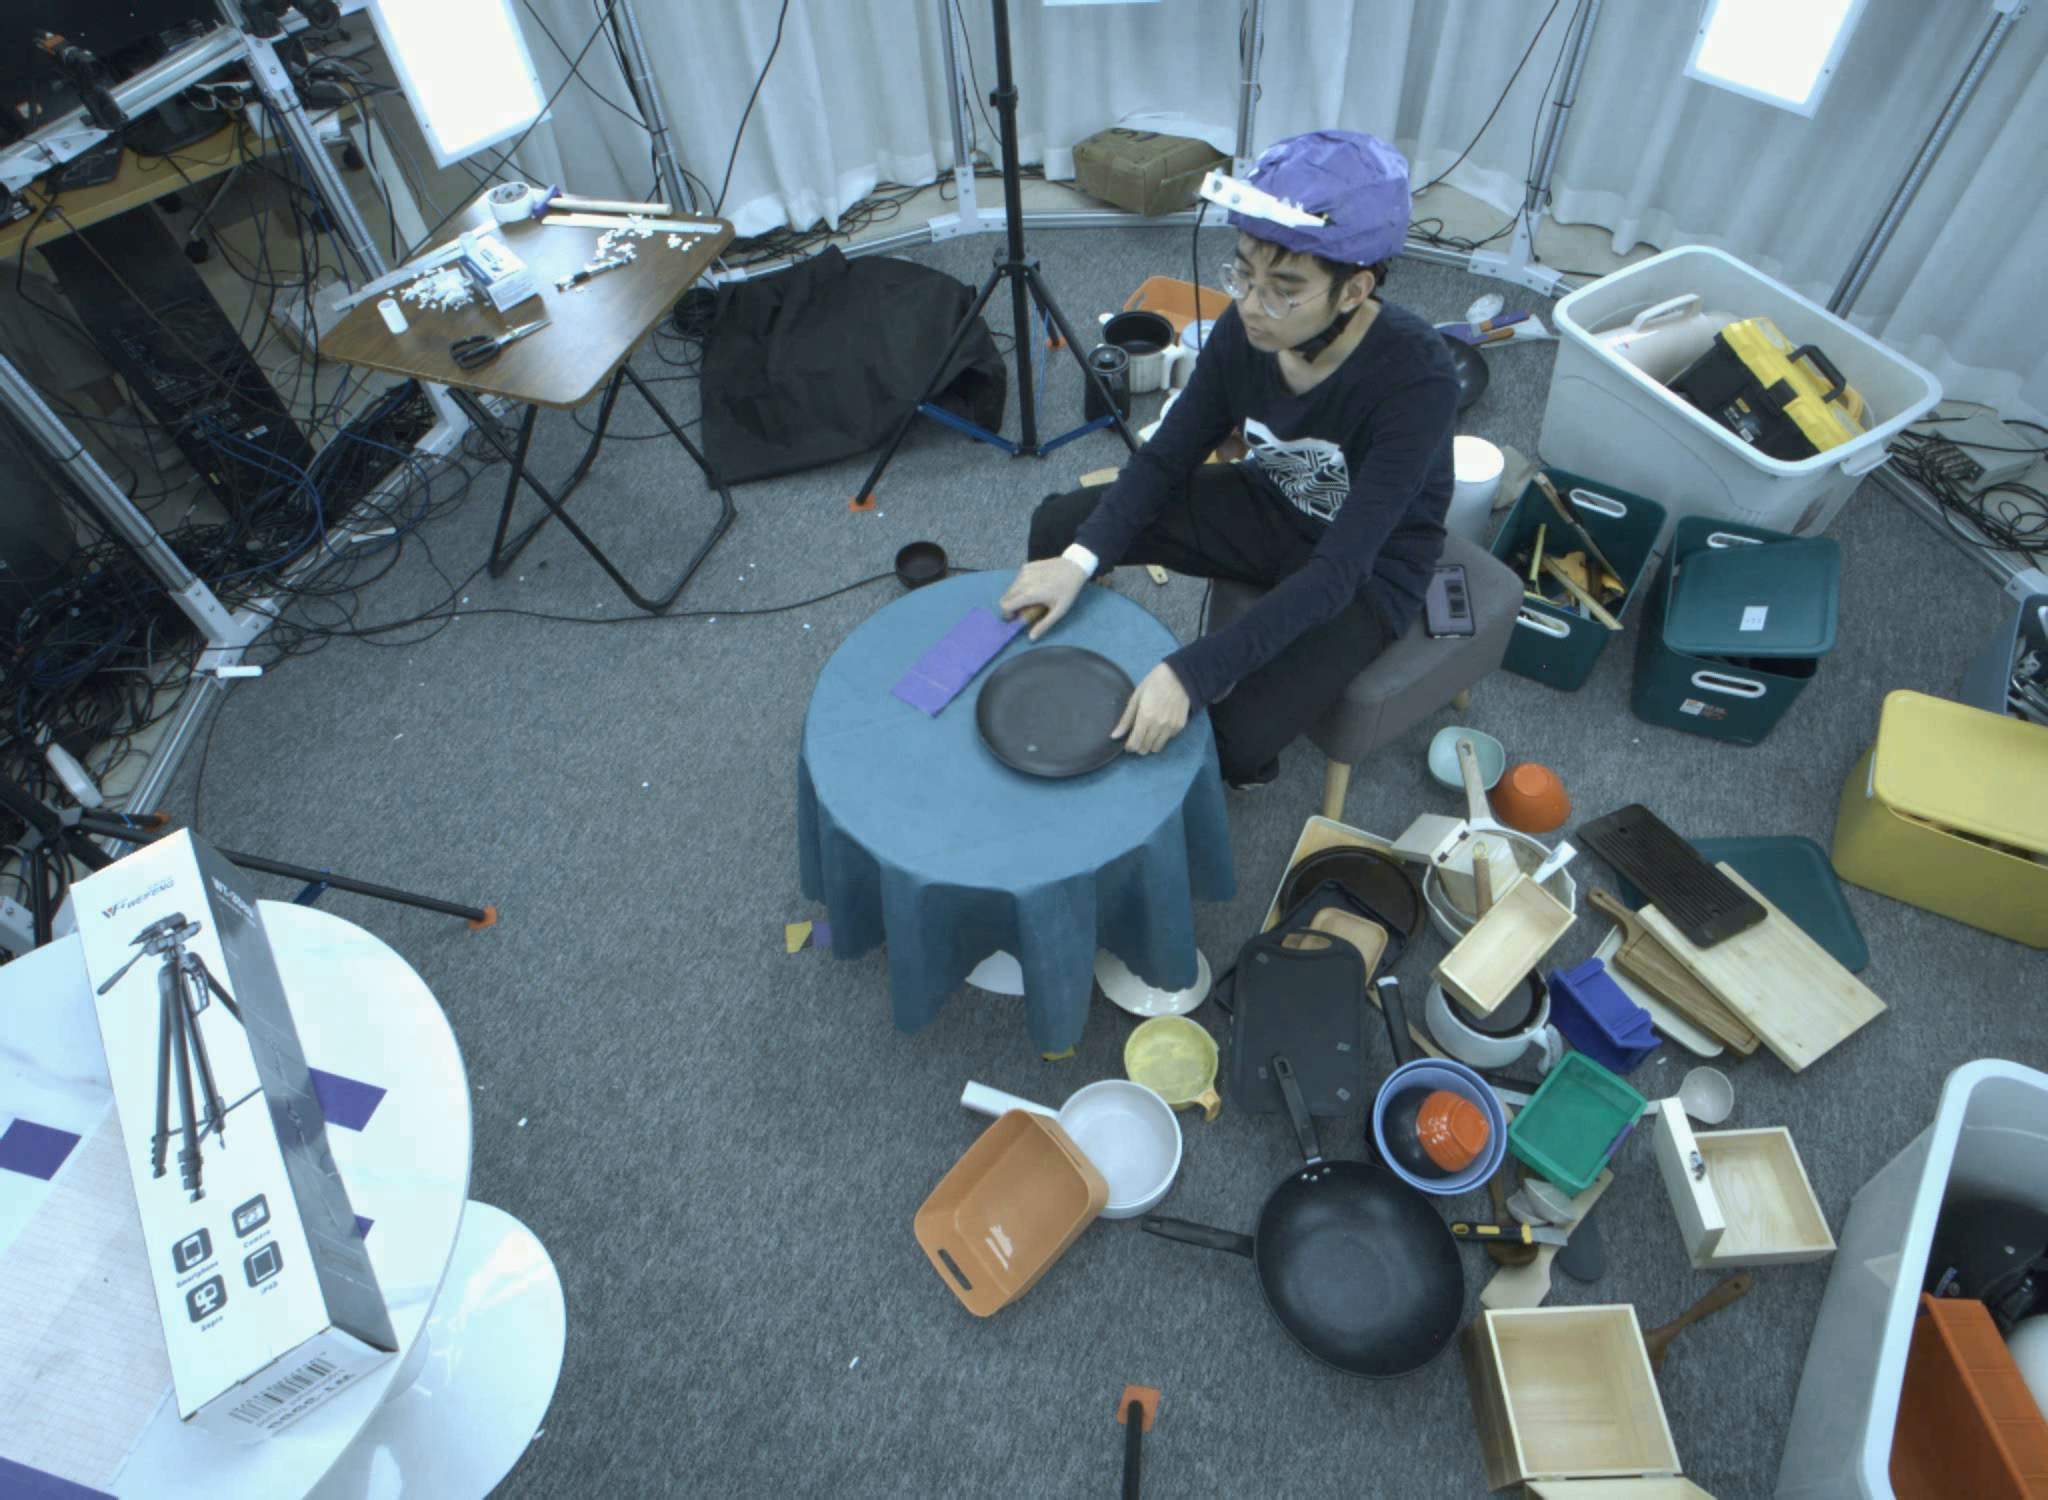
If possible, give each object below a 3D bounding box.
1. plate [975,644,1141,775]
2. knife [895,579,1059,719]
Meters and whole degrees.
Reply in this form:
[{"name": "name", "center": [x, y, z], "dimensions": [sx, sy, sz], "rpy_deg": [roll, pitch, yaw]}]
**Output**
[{"name": "plate", "center": [0.050, -0.058, 1.821], "dimensions": [0.244, 0.023, 0.242], "rpy_deg": [0, 54, 1]}, {"name": "knife", "center": [-0.074, -0.174, 1.905], "dimensions": [0.102, 0.032, 0.317], "rpy_deg": [32, 62, 22]}]
